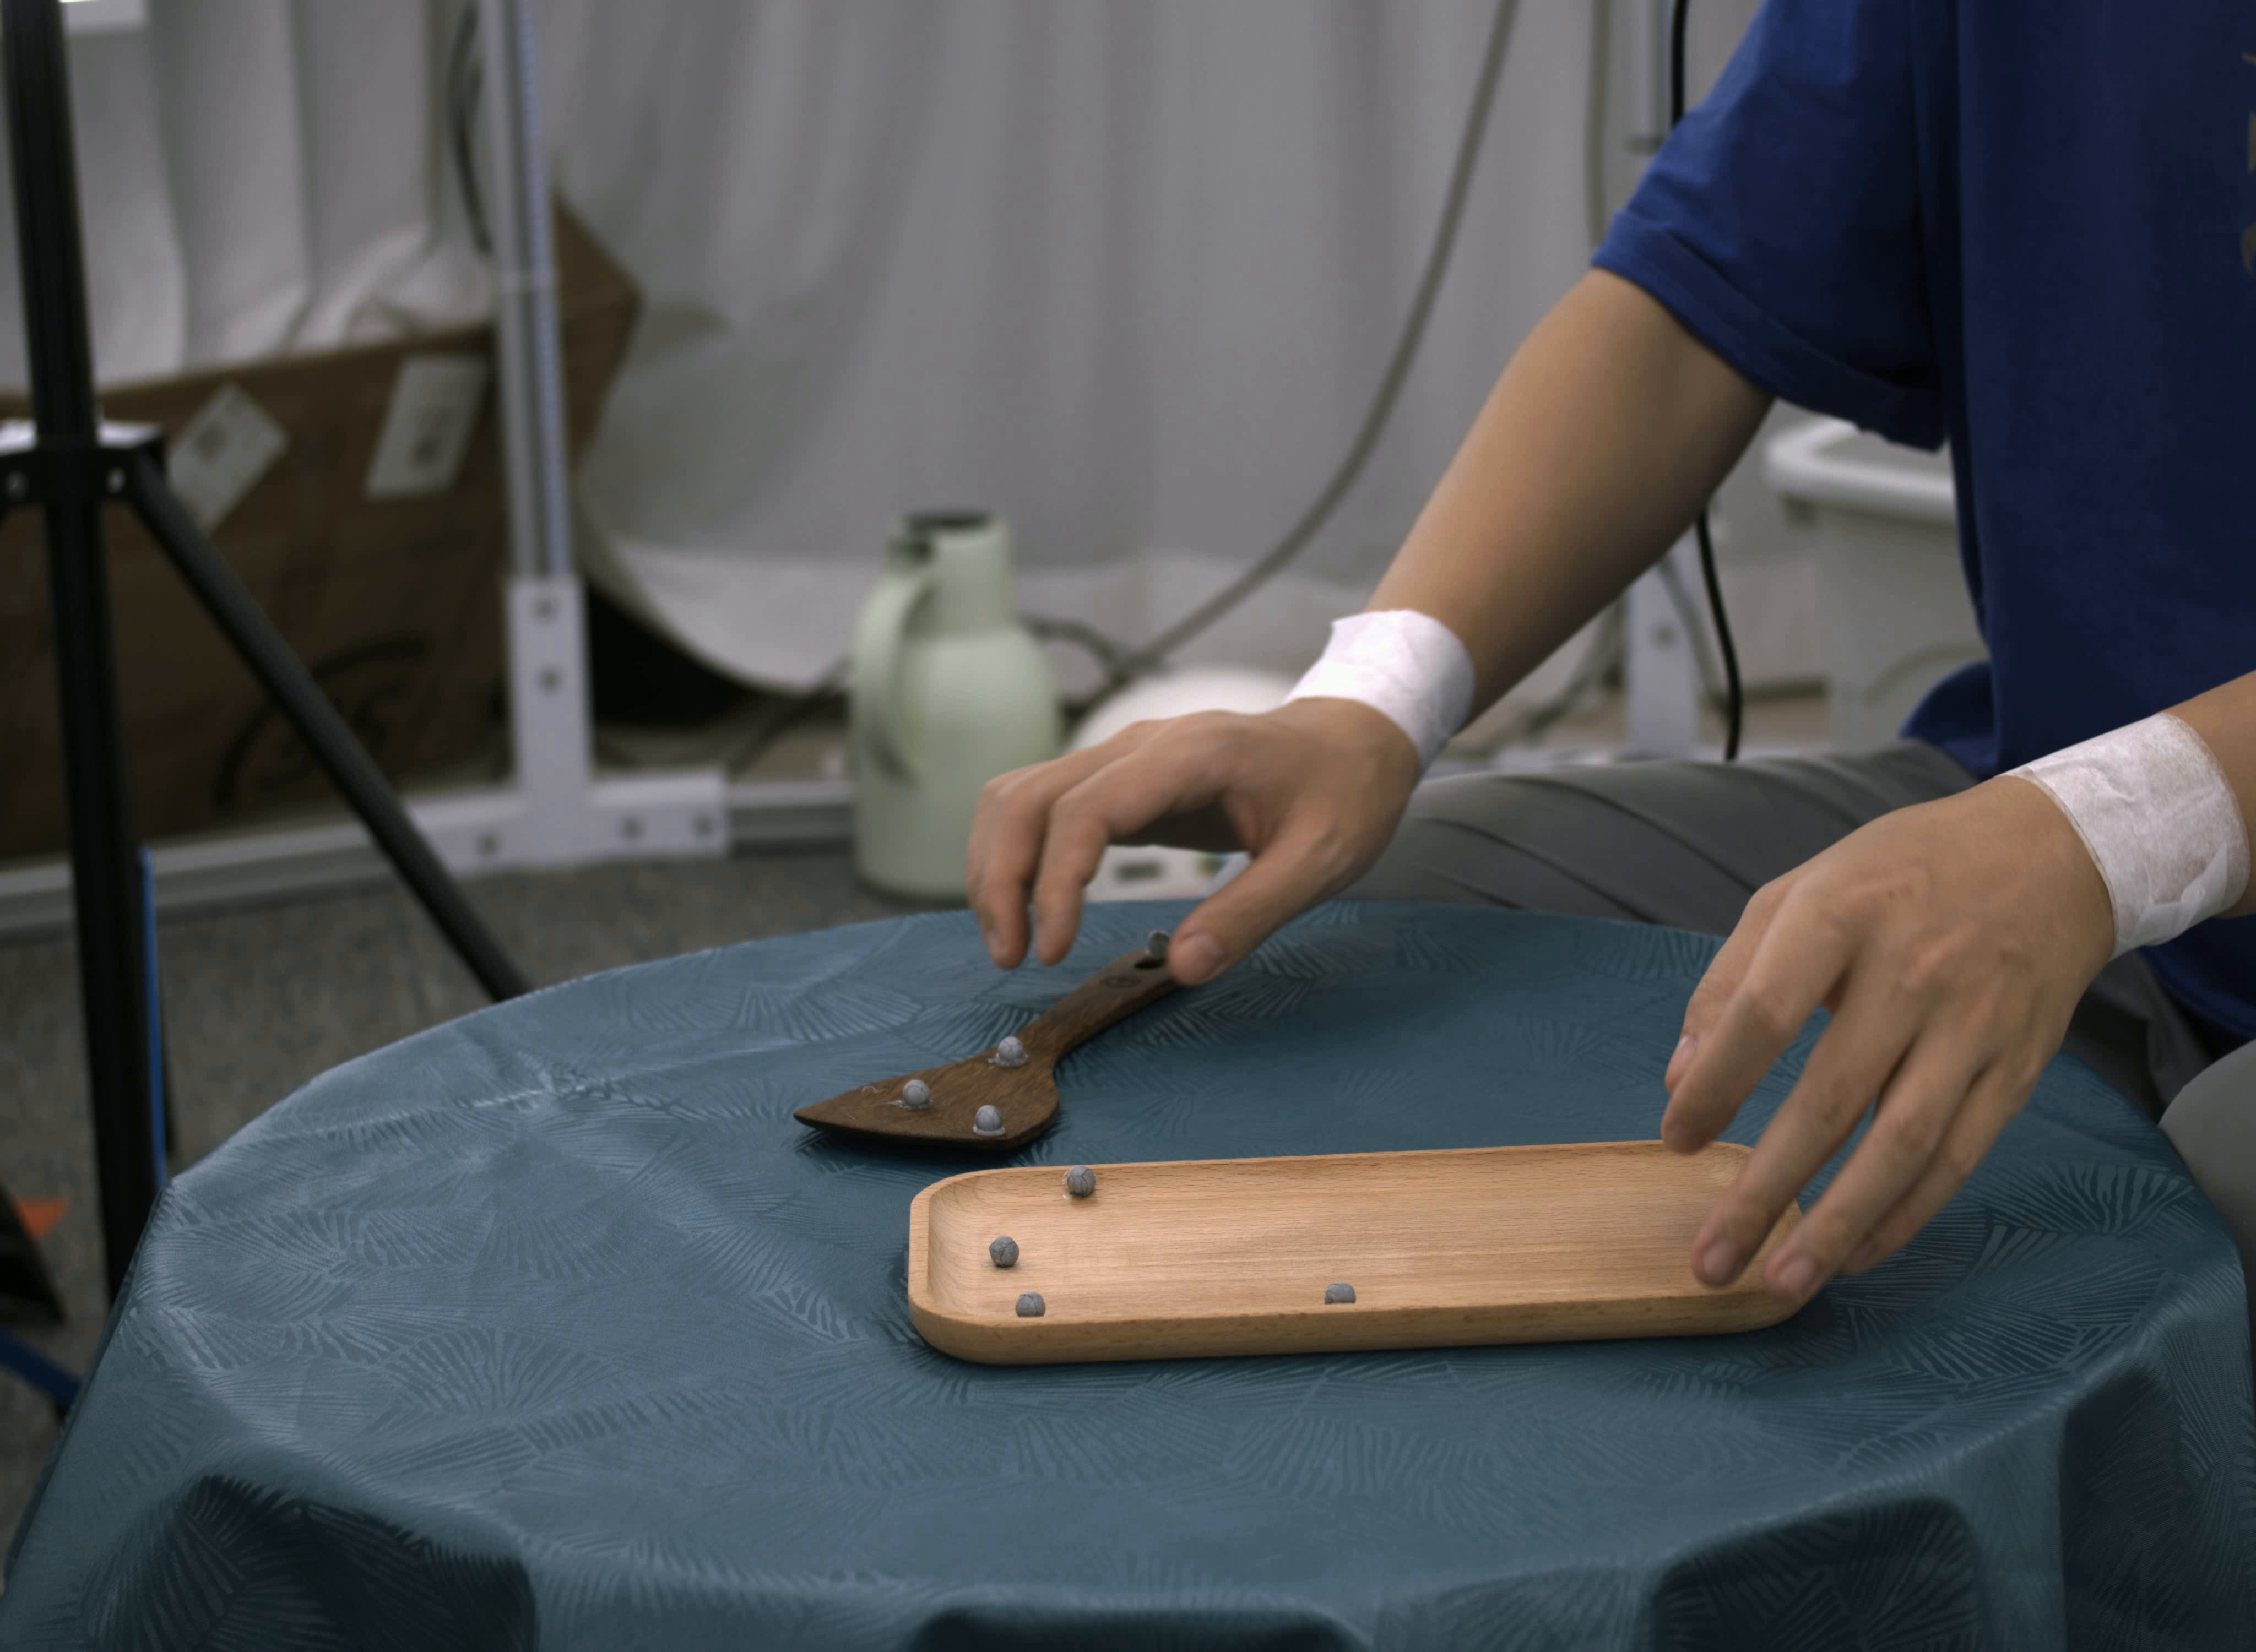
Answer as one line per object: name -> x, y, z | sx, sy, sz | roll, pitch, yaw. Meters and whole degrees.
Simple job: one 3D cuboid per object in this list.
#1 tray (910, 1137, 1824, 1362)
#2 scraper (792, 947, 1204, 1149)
tray -> 0.065, 0.118, 1.480 | 0.250, 0.023, 0.131 | -1, 18, 2
scraper -> -0.028, 0.069, 1.683 | 0.077, 0.011, 0.208 | 6, 17, 25
